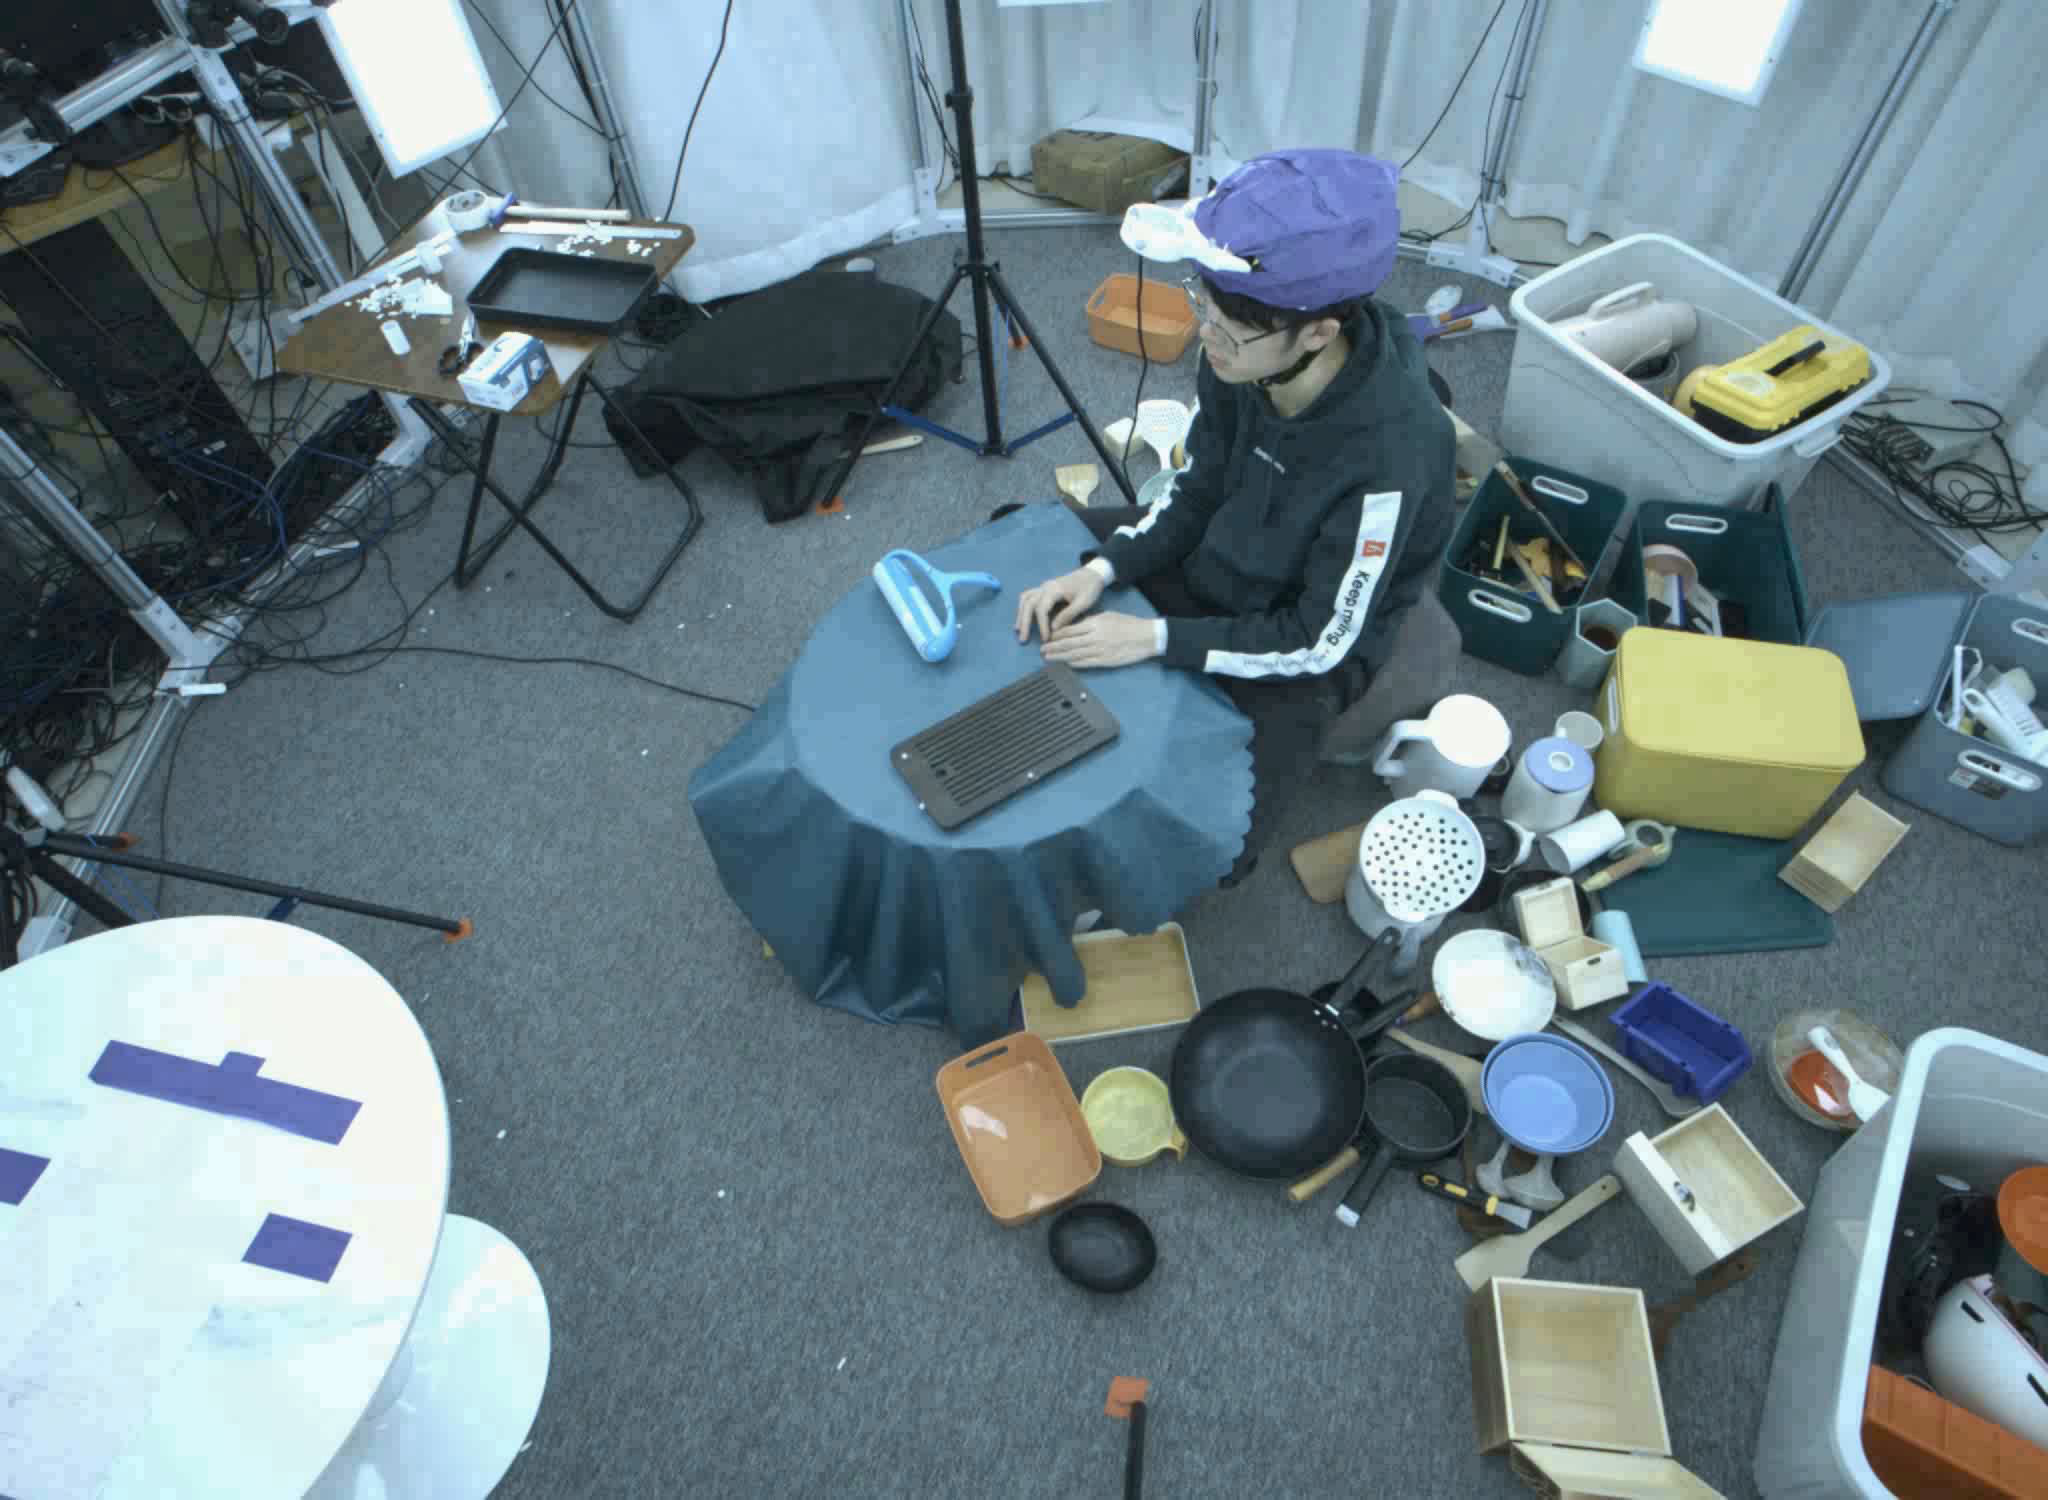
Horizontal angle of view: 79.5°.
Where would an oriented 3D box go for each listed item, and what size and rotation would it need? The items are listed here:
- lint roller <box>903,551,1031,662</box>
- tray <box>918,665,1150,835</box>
[{"bbox_3d":[-0.076,-0.246,1.924,0.181,0.069,0.224,-25,56,-14],"label":"lint roller"},{"bbox_3d":[0.015,-0.003,1.774,0.308,0.019,0.167,-28,58,-17],"label":"tray"}]
